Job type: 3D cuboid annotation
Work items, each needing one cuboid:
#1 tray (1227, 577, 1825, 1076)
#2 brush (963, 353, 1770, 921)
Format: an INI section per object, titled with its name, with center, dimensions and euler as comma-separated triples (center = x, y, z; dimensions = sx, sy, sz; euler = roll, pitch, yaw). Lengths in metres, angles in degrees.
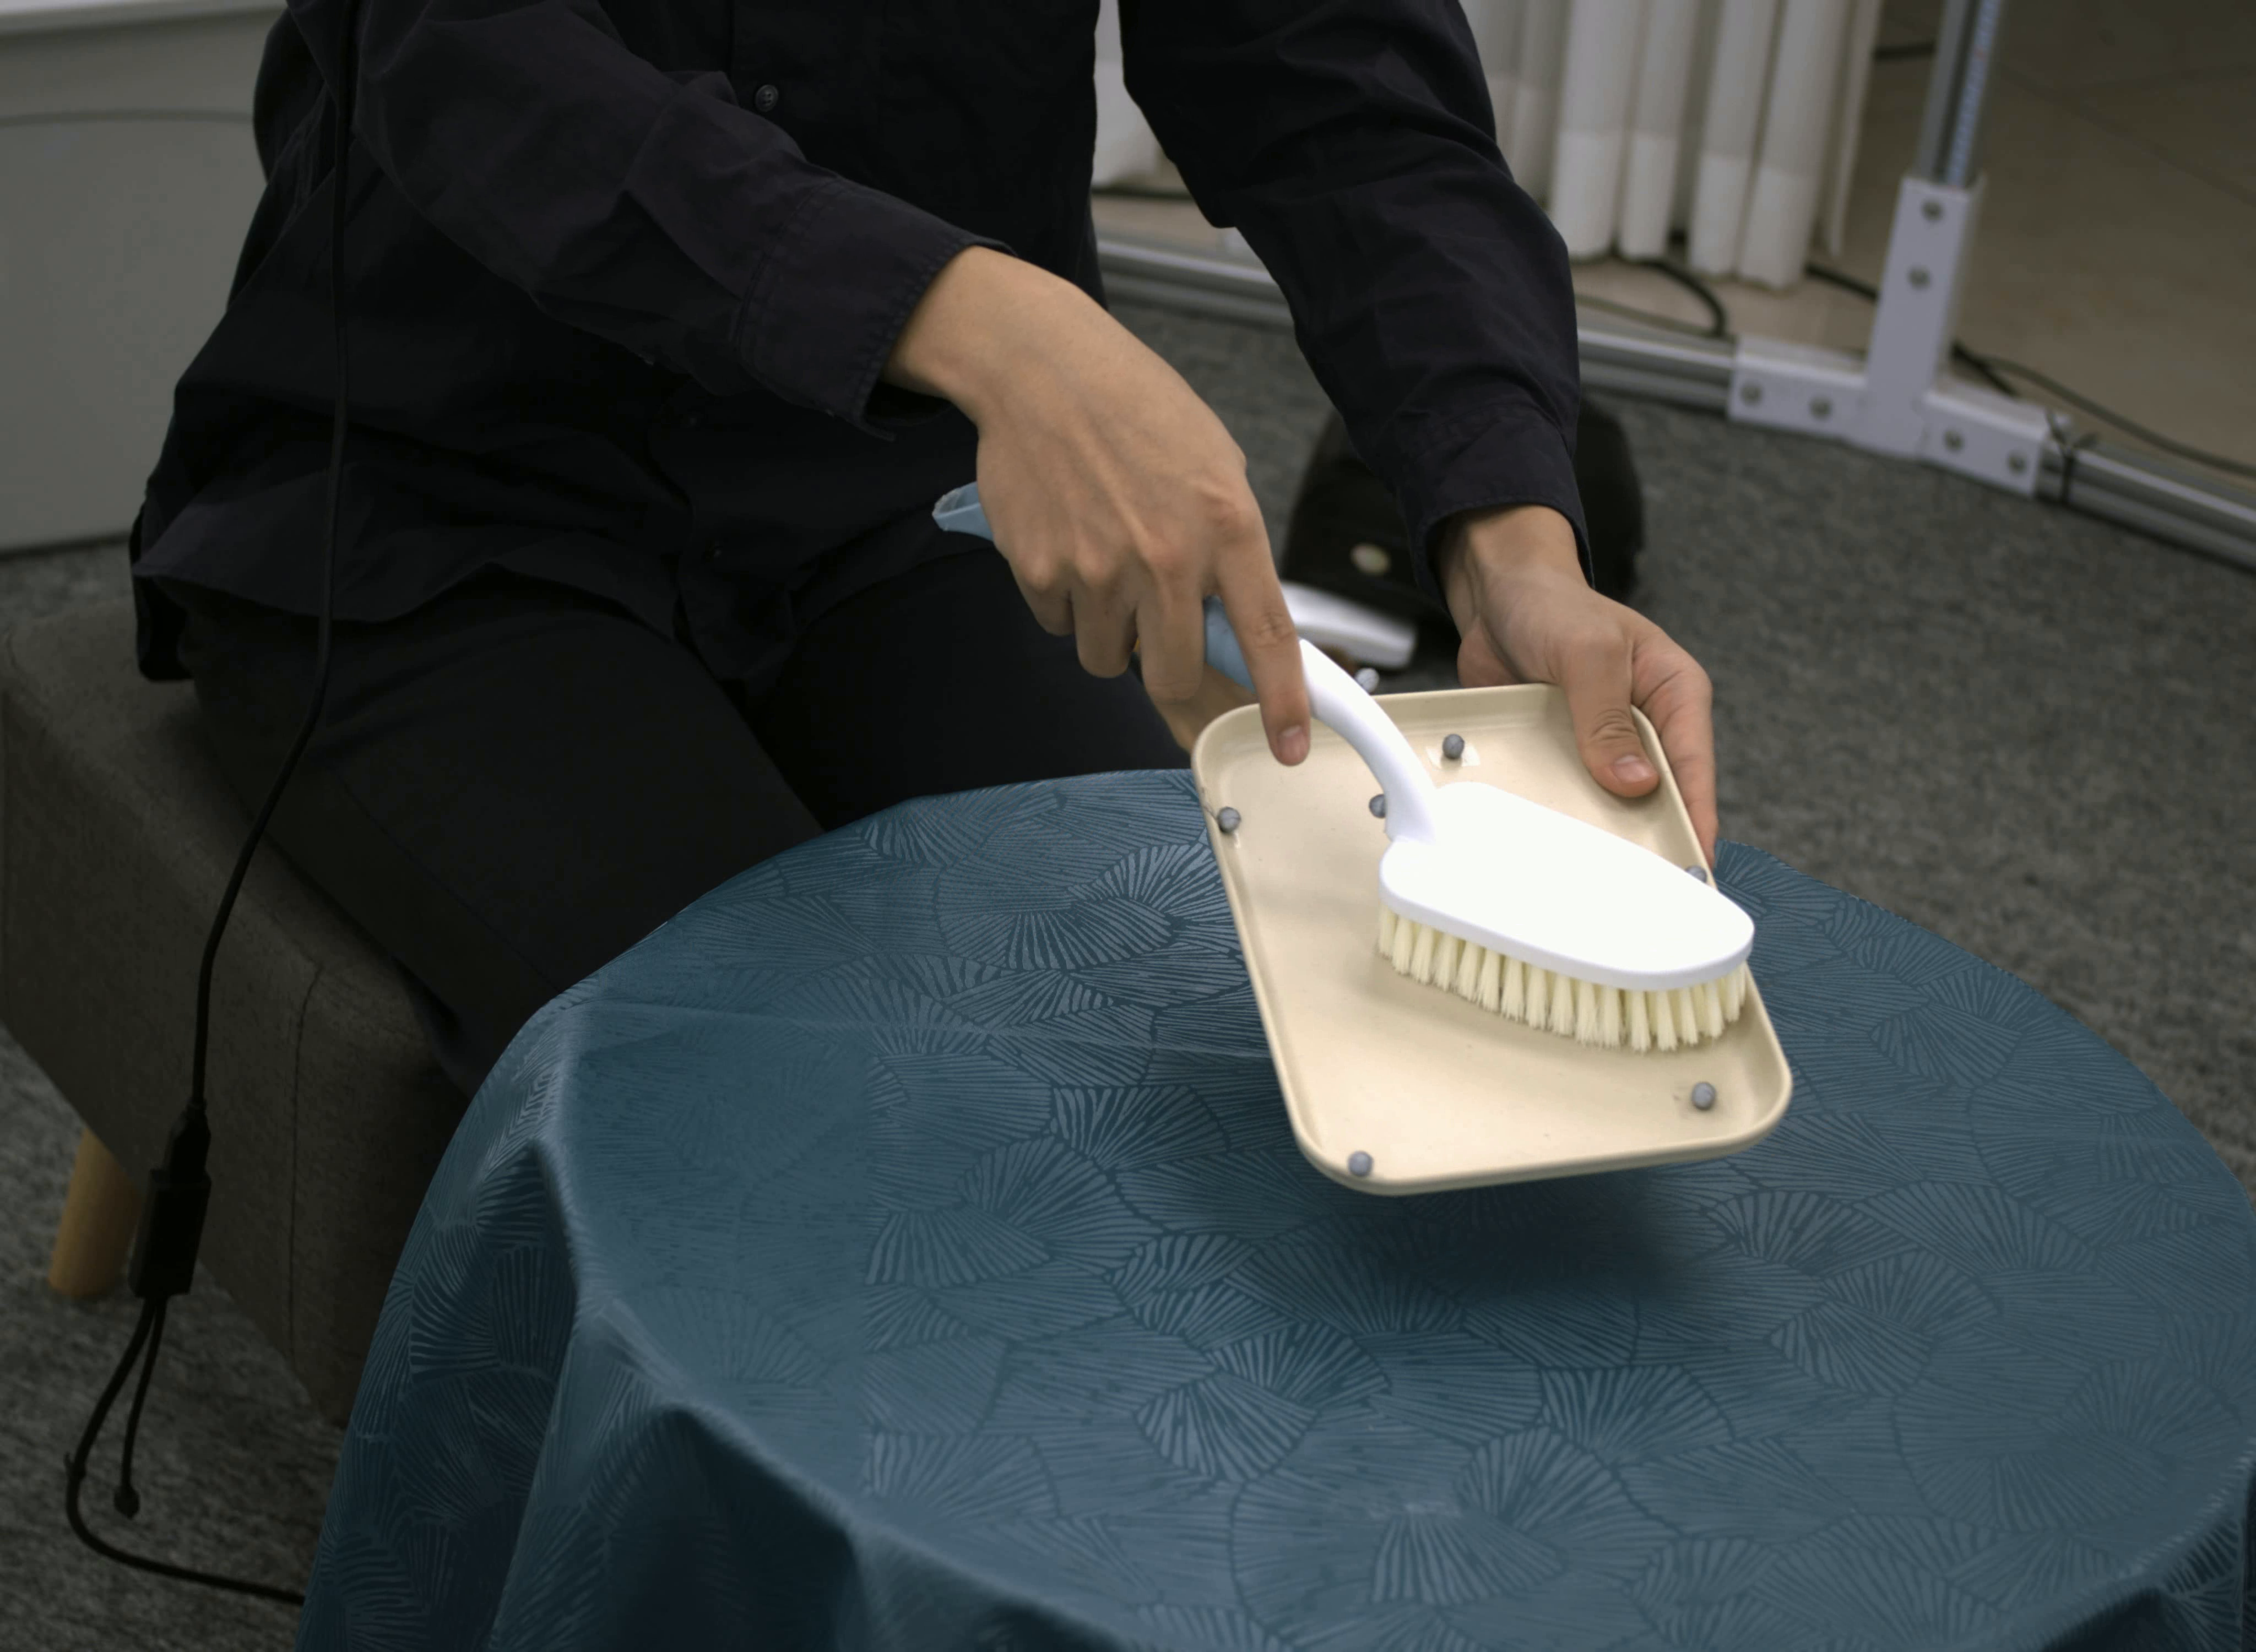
[tray]
center = 0.134, -0.001, 1.847
dimensions = 0.170, 0.017, 0.242
euler = -5, 42, -9
[brush]
center = 0.078, -0.059, 1.855
dimensions = 0.326, 0.084, 0.083
euler = 31, 10, 12
